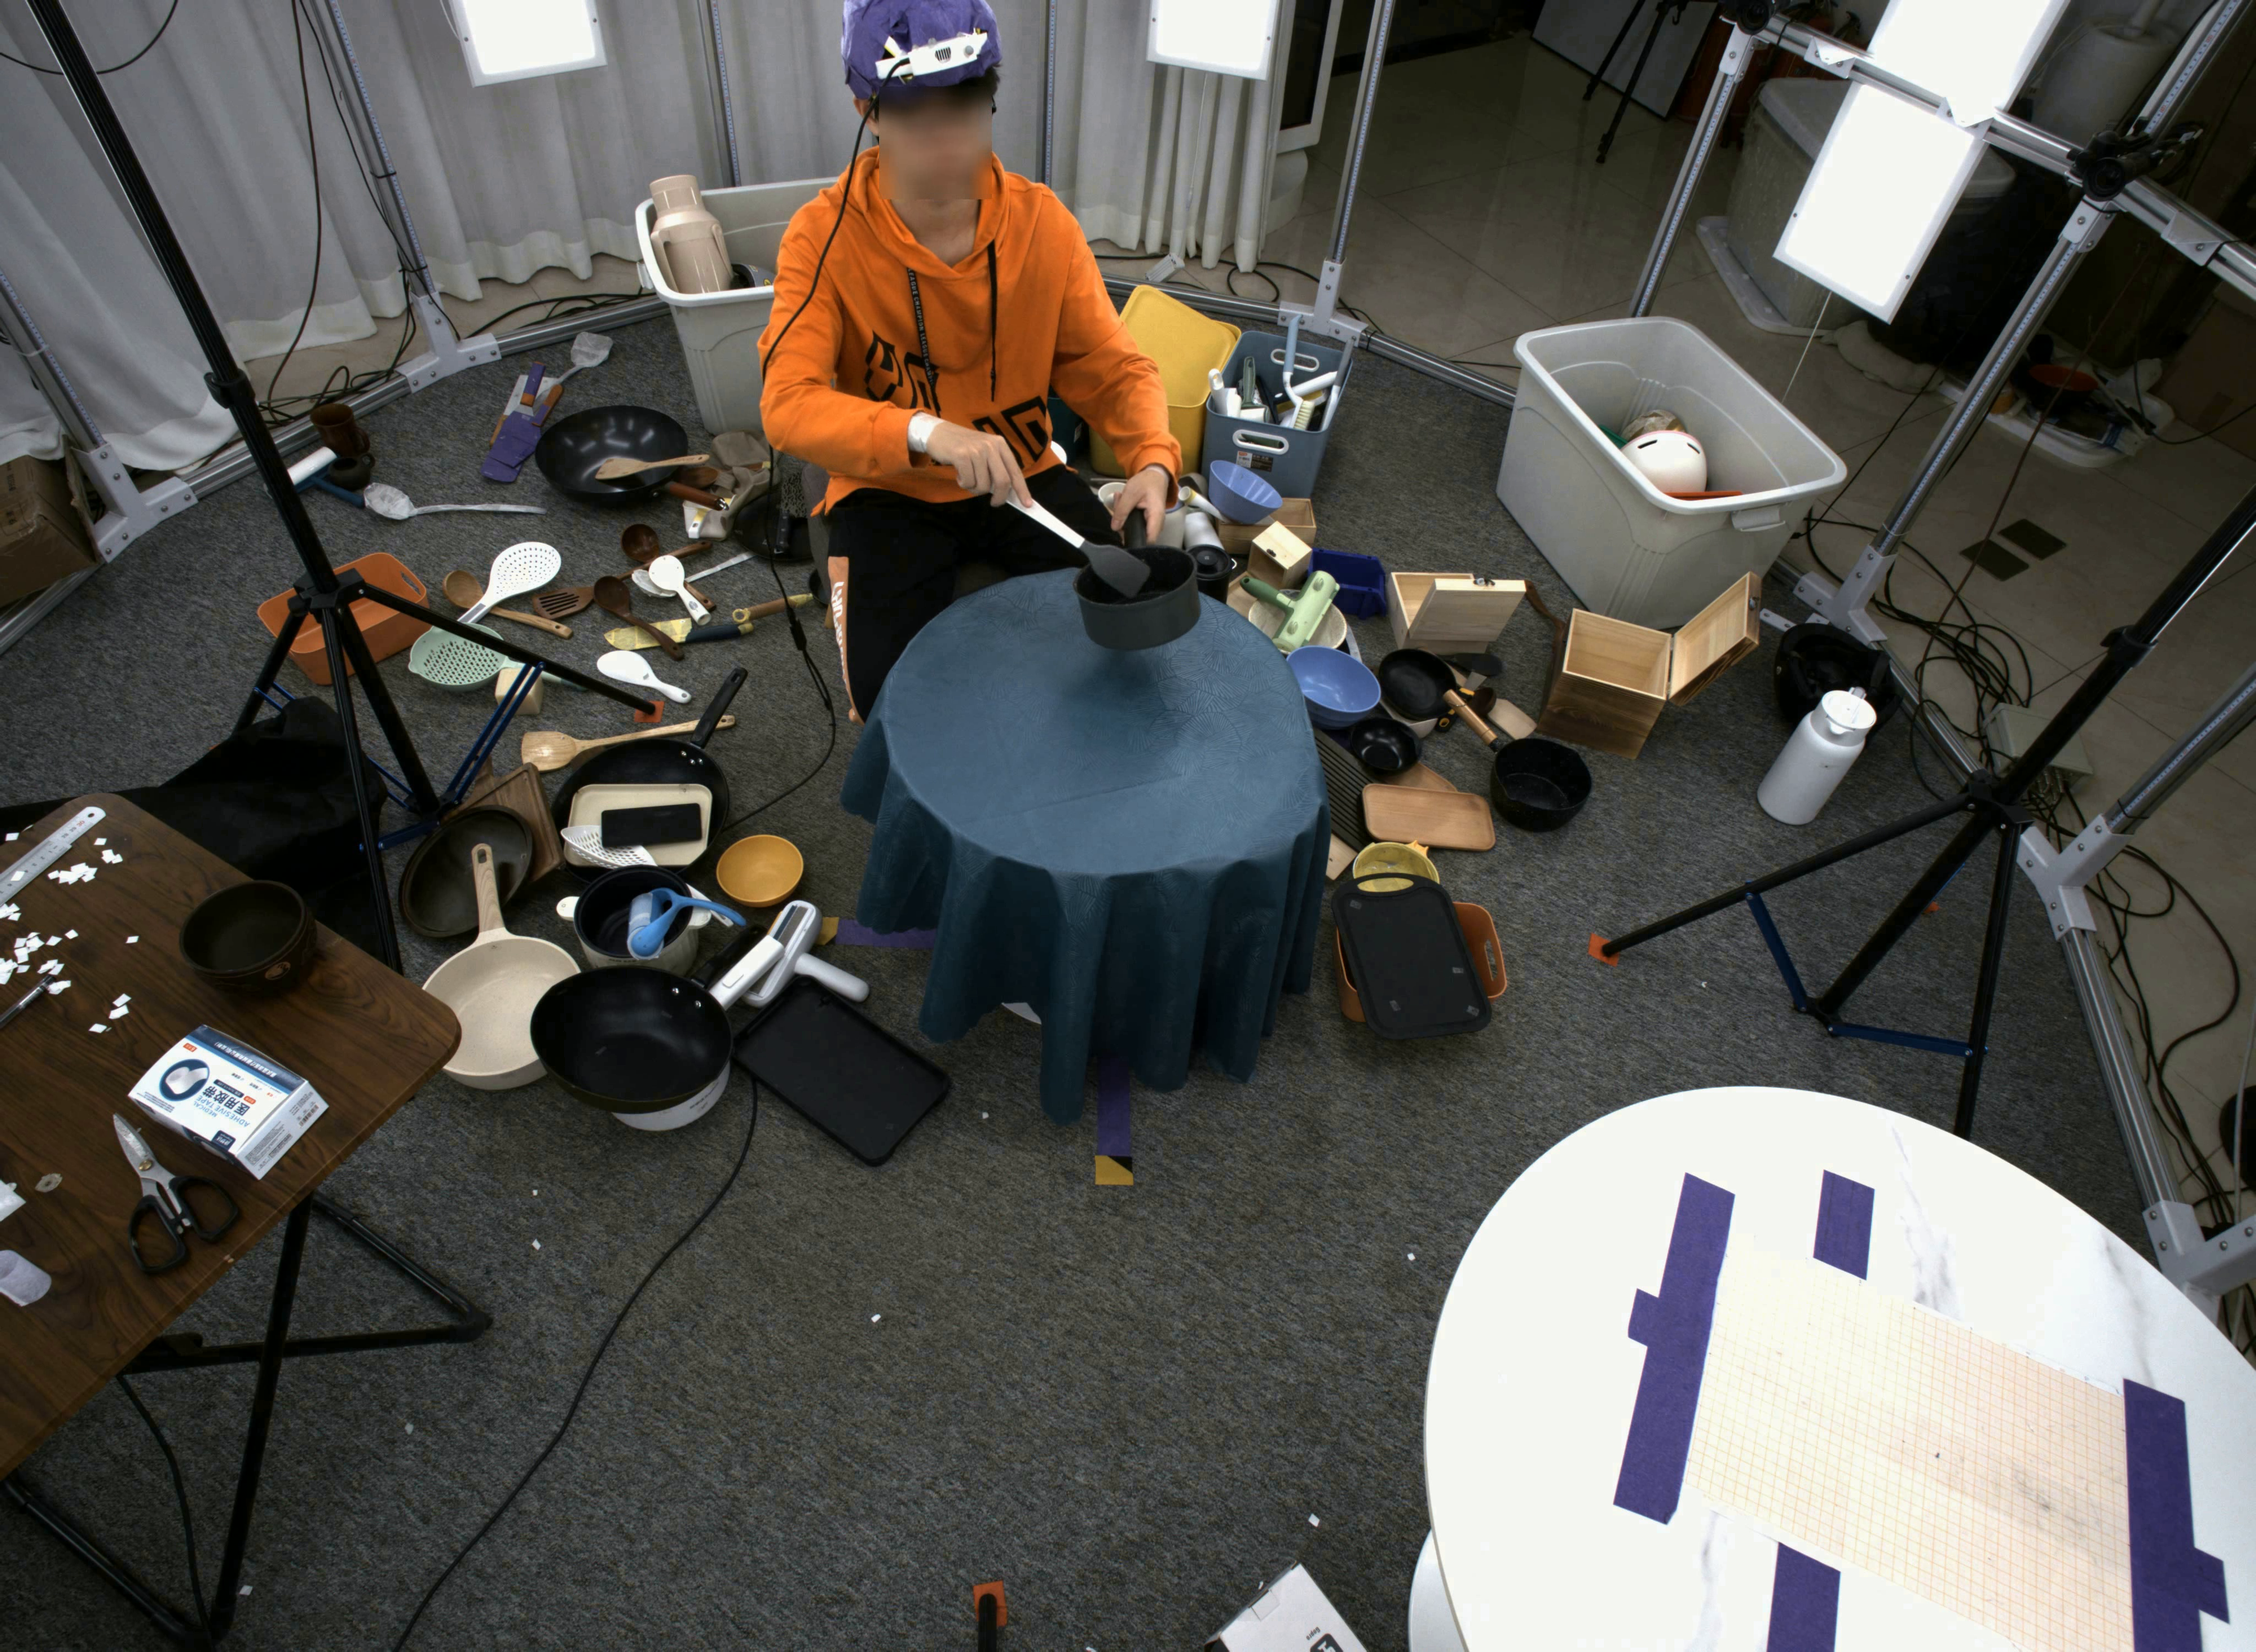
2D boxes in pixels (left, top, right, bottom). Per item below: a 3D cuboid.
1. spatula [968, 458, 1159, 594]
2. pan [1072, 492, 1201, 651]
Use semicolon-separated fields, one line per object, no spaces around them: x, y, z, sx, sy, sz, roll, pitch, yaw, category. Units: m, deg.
-0.089;-0.414;1.779;0.286;0.058;0.032;30;8;-10;spatula
0.016;-0.366;1.831;0.172;0.084;0.336;-6;38;8;pan
